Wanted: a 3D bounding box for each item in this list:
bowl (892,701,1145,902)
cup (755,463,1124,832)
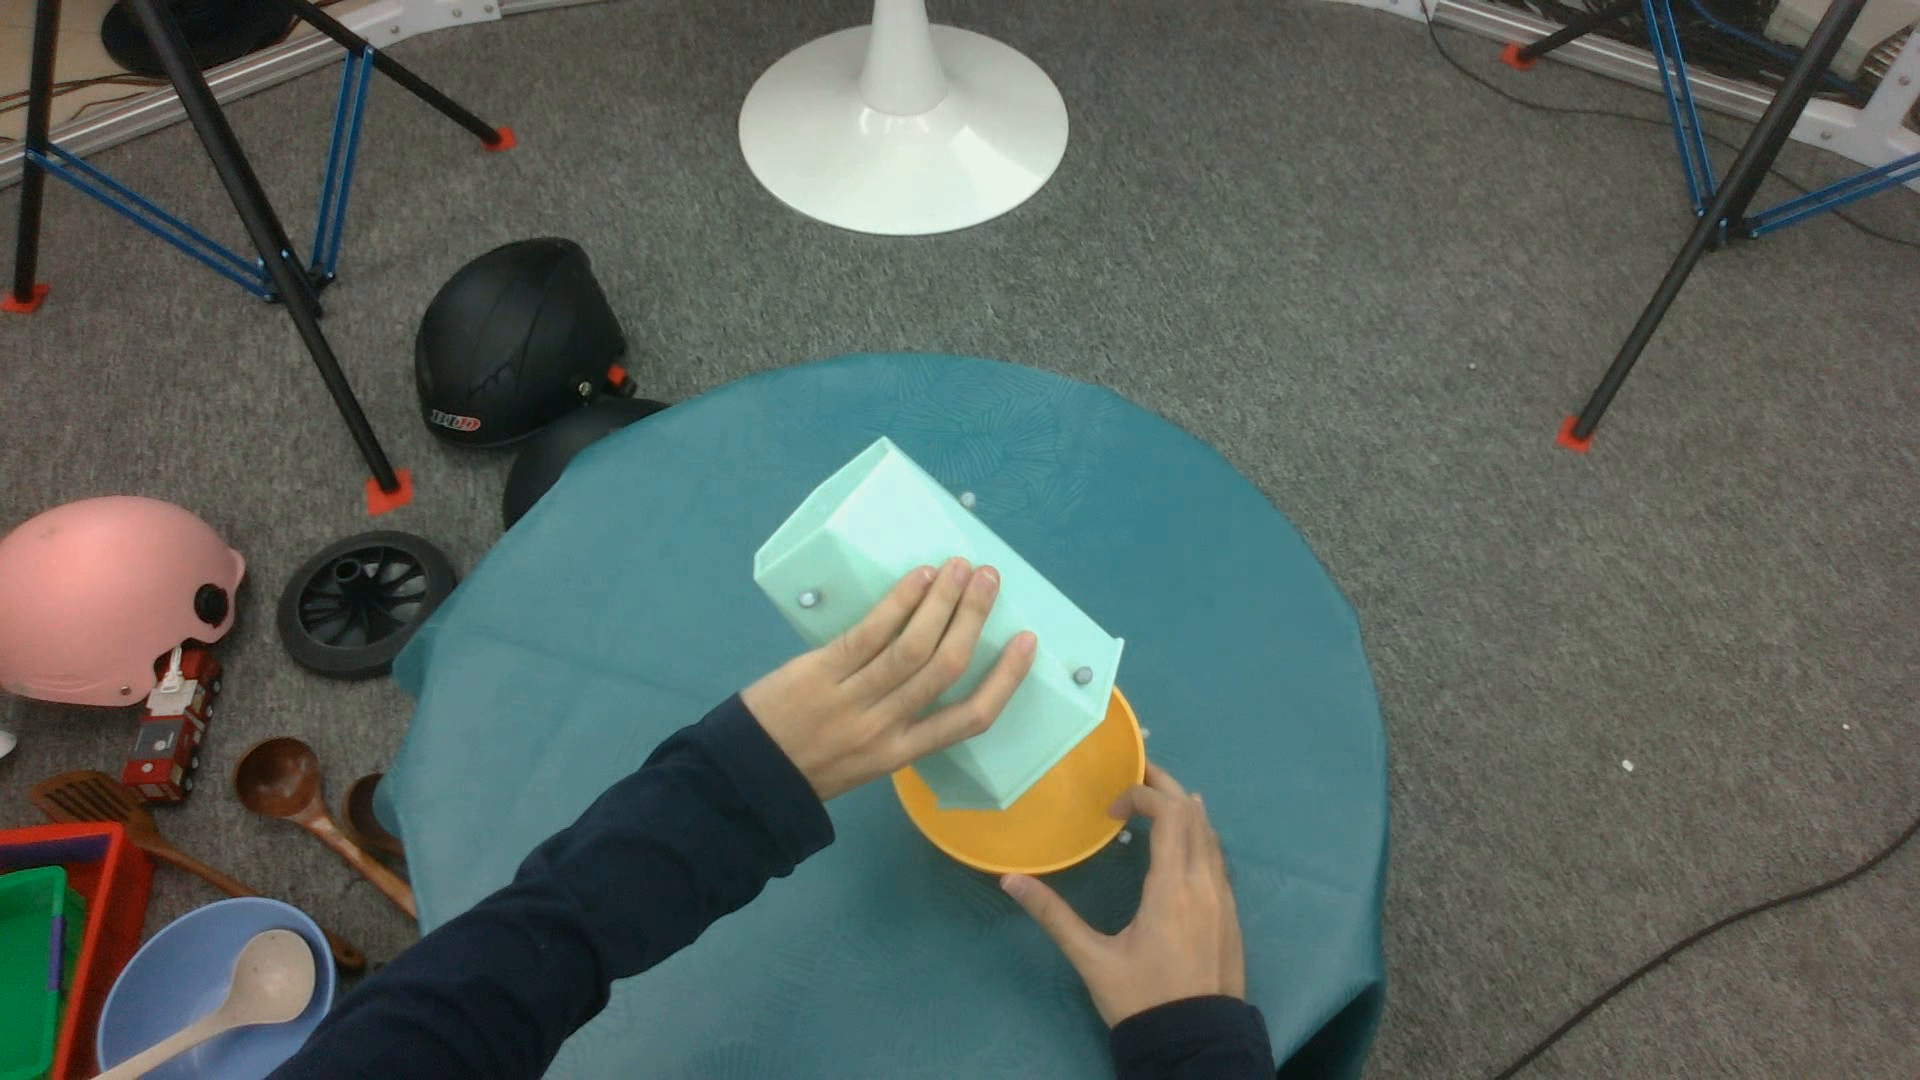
[{"bbox_3d":[0.034,0.152,0.810,0.145,0.060,0.146,-1,55,2],"label":"bowl"},{"bbox_3d":[-0.015,0.052,0.708,0.163,0.130,0.115,47,63,-12],"label":"cup"}]
